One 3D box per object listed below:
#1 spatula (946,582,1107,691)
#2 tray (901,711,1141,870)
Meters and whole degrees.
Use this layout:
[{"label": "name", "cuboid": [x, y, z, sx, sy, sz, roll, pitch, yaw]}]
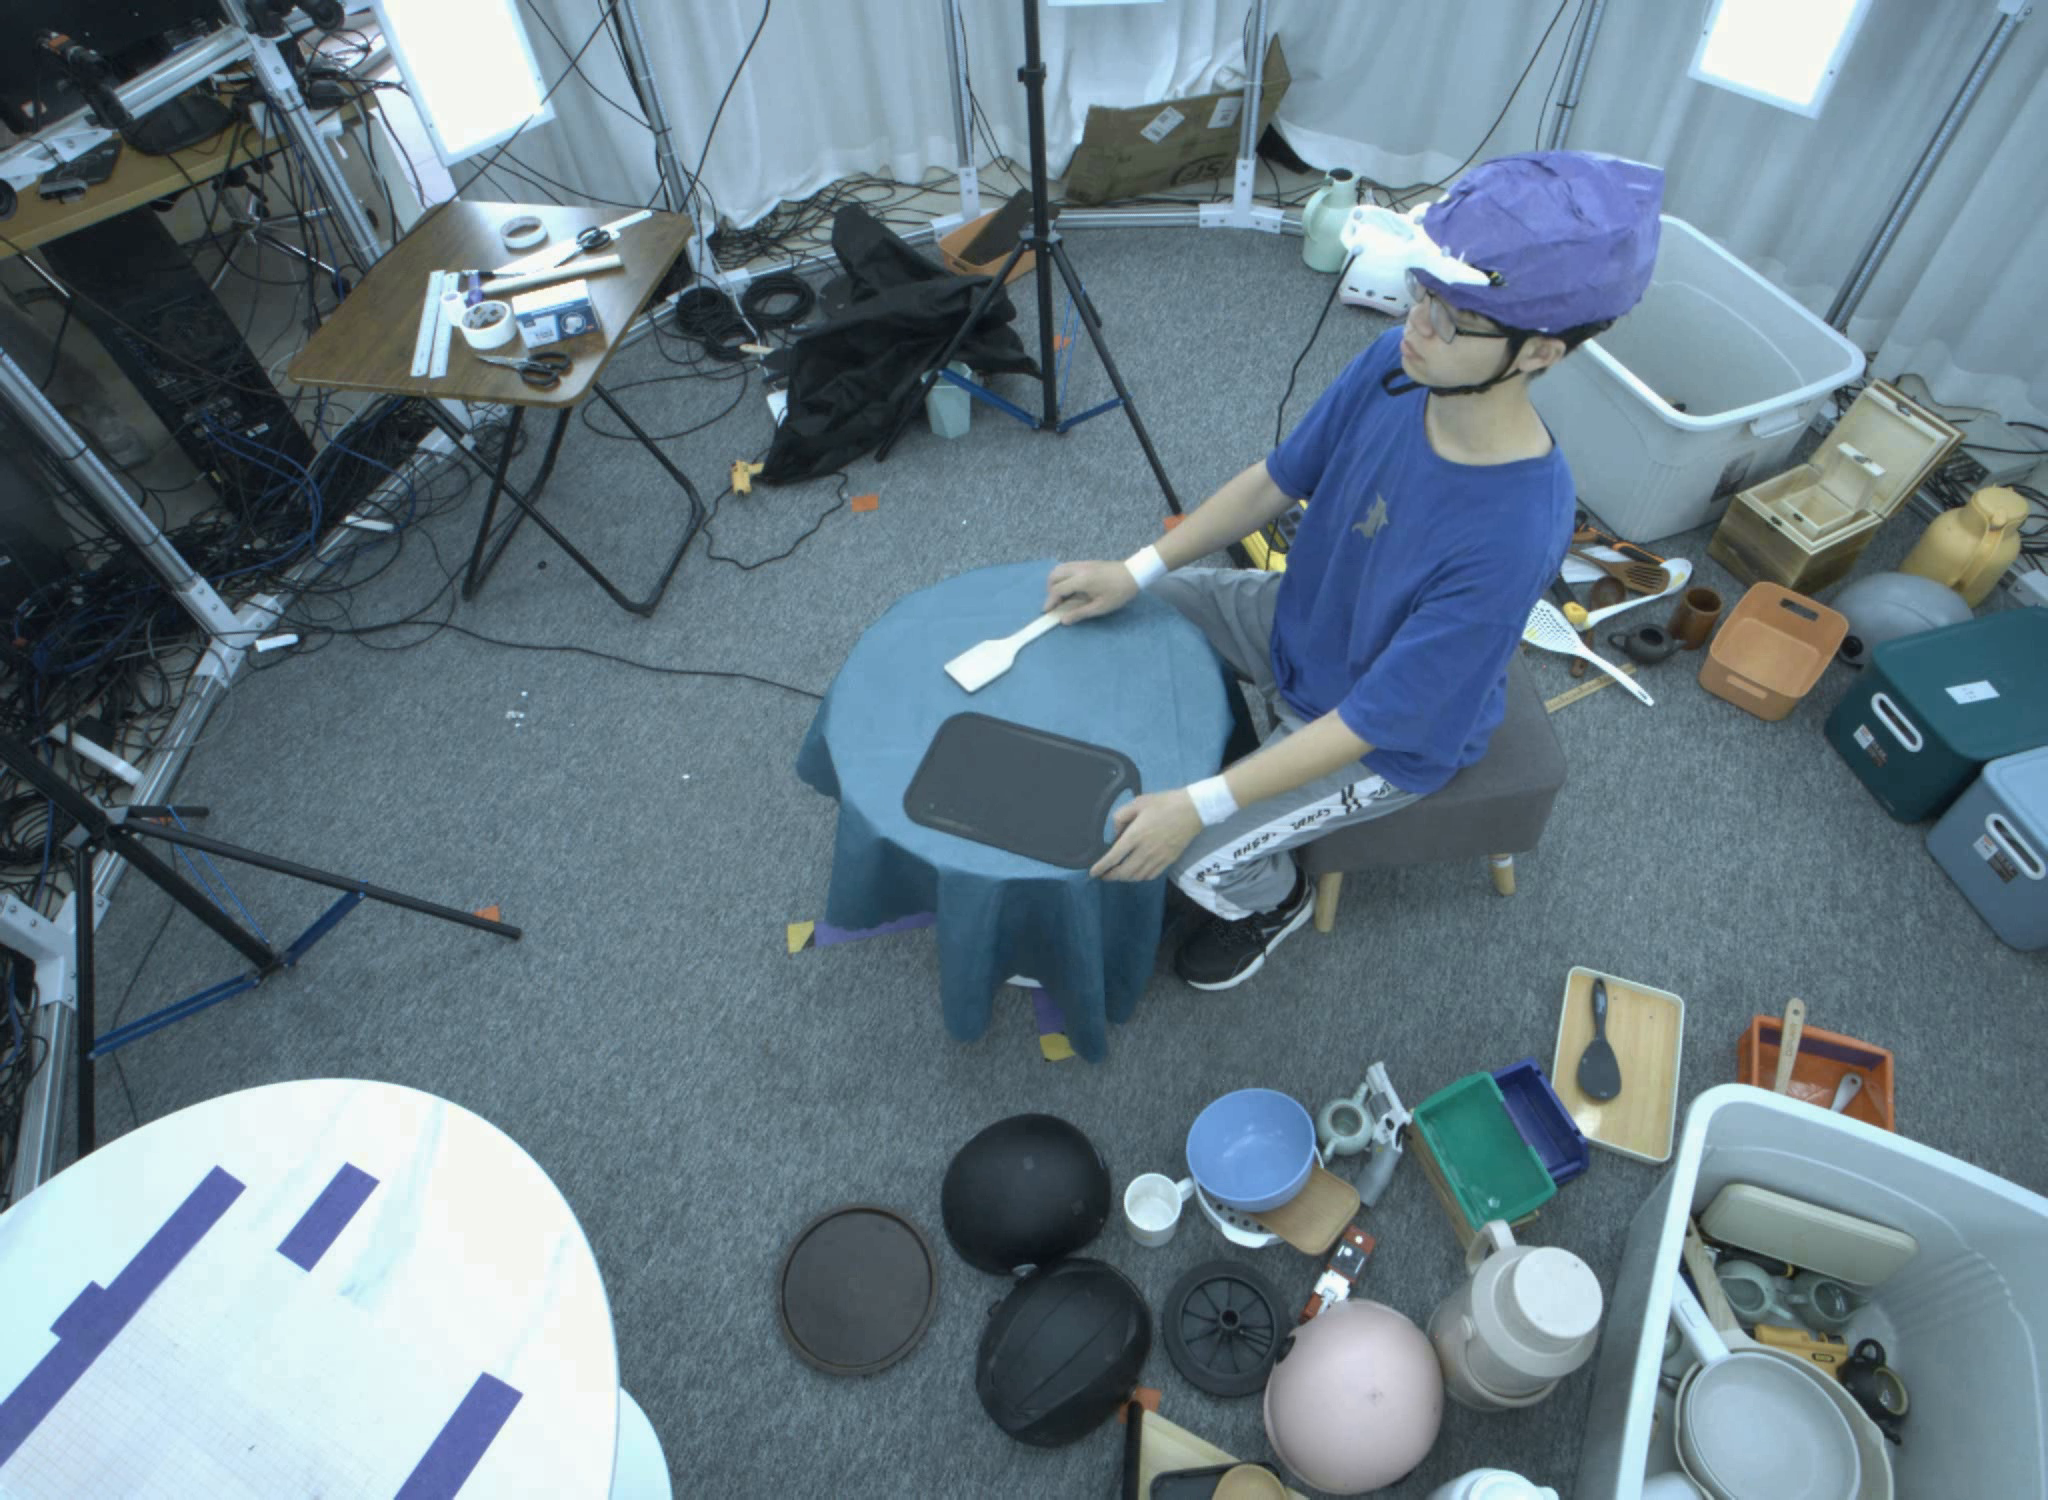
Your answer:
[{"label": "spatula", "cuboid": [0.013, -0.184, 1.904, 0.295, 0.011, 0.071, -35, 59, -20]}, {"label": "tray", "cuboid": [0.002, 0.053, 1.736, 0.322, 0.010, 0.211, 16, 57, 13]}]
